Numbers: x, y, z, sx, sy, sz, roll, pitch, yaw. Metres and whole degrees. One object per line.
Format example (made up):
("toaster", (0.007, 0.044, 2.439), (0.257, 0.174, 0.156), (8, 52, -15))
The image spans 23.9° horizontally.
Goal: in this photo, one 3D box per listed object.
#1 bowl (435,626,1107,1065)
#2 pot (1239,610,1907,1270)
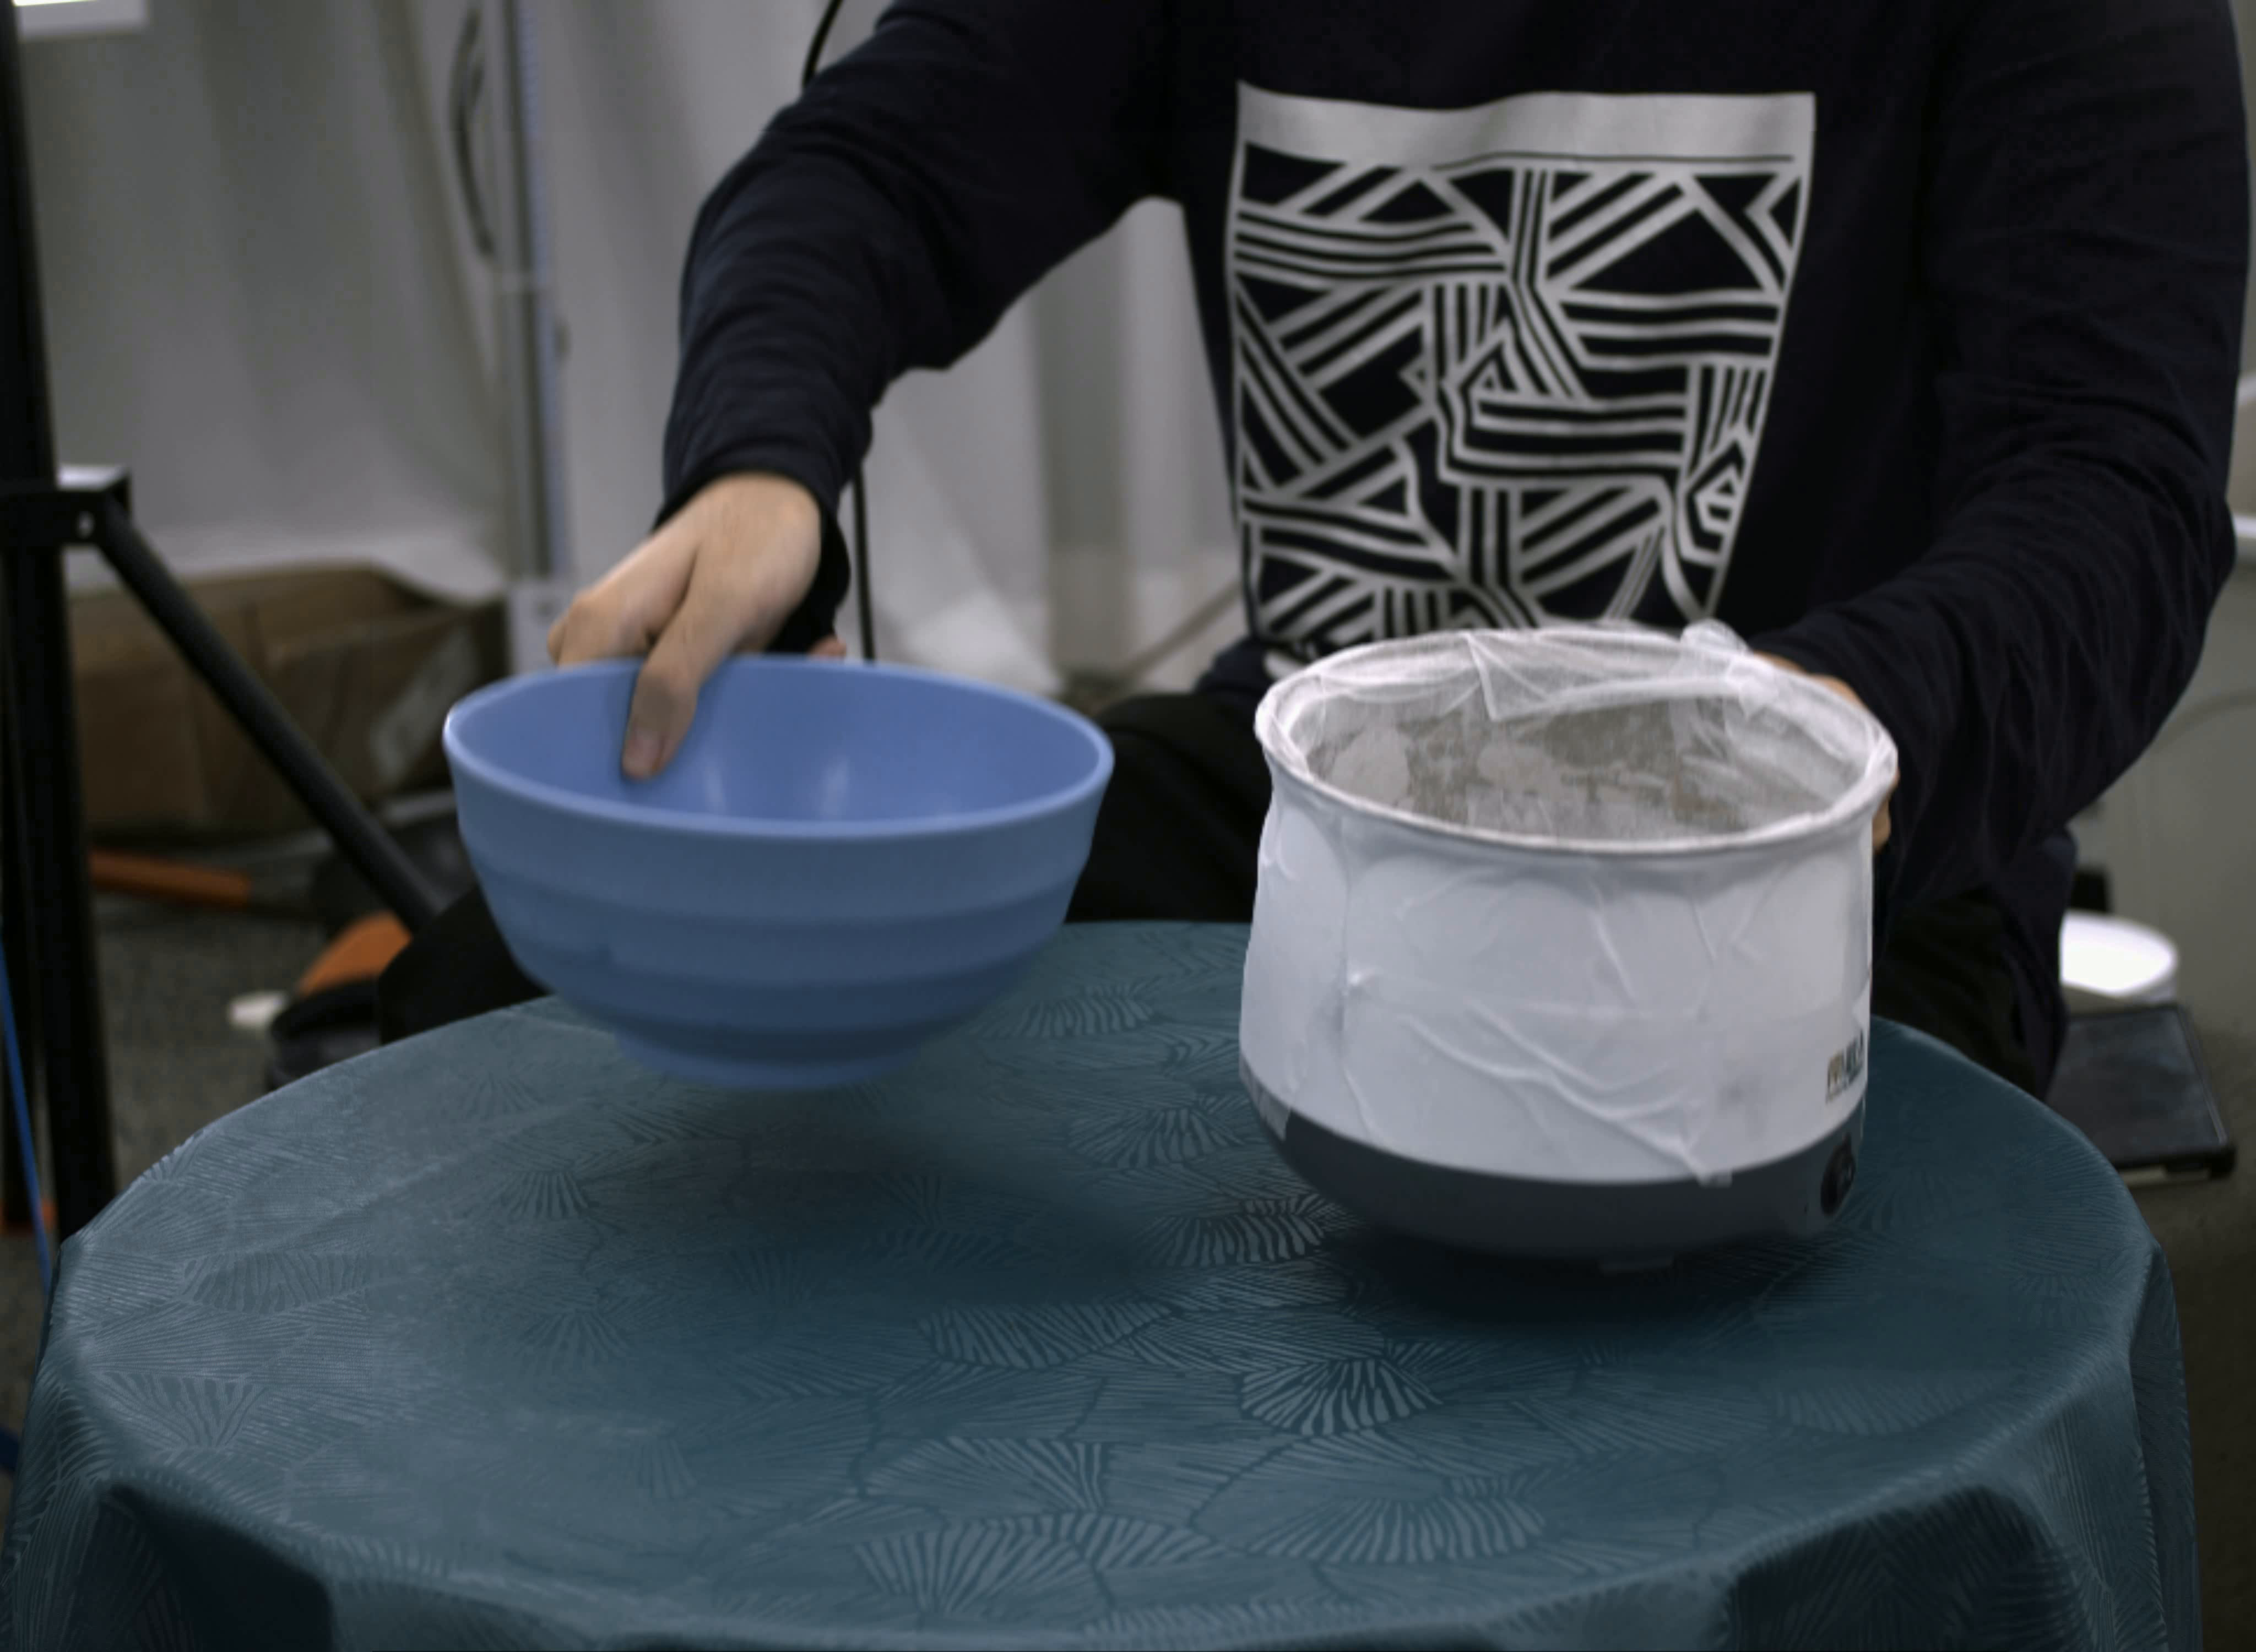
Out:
("bowl", (-0.103, 0.011, 1.565), (0.195, 0.095, 0.197), (-2, 17, -1))
("pot", (0.133, 0.023, 1.503), (0.181, 0.136, 0.230), (14, 24, 24))
